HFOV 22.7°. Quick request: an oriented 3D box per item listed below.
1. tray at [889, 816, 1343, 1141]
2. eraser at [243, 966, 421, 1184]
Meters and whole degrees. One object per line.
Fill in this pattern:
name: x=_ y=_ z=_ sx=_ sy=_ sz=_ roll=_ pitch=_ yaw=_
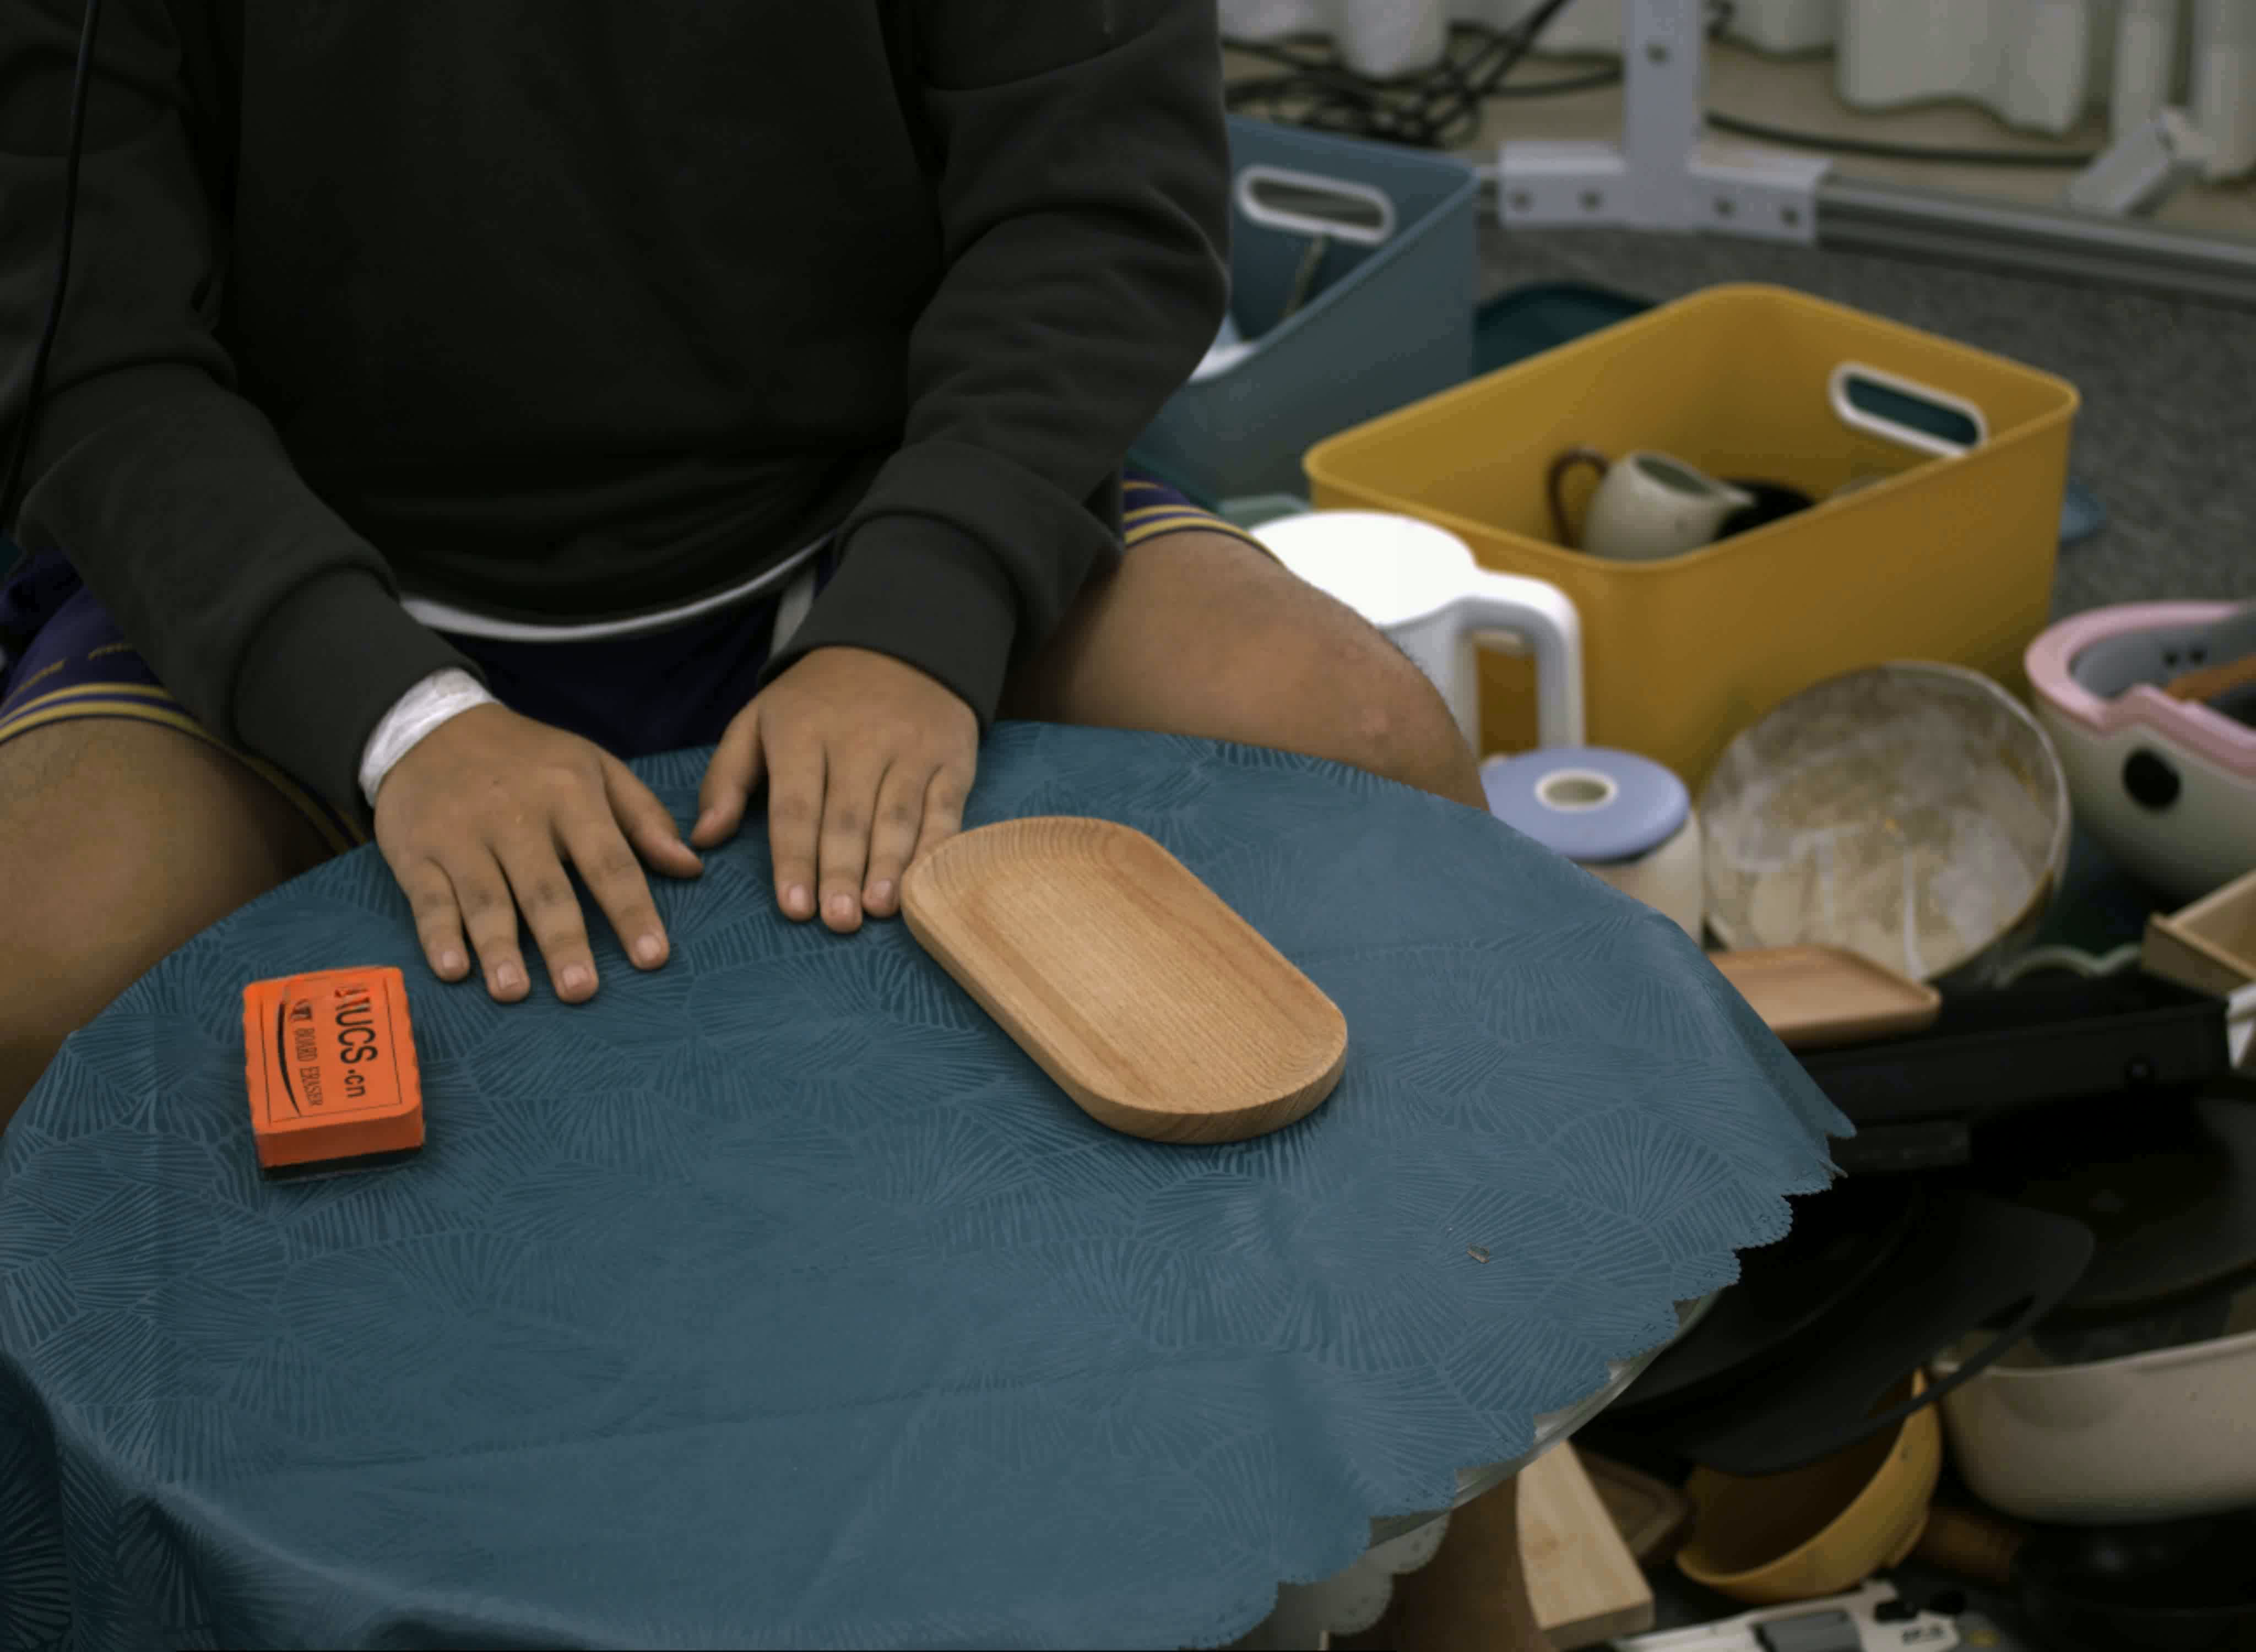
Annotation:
tray: x=-0.006 y=0.052 z=1.980 sx=0.102 sy=0.020 sz=0.232 roll=-14 pitch=28 yaw=-23
eraser: x=-0.274 y=0.086 z=1.934 sx=0.059 sy=0.022 sz=0.109 roll=-8 pitch=27 yaw=-7
